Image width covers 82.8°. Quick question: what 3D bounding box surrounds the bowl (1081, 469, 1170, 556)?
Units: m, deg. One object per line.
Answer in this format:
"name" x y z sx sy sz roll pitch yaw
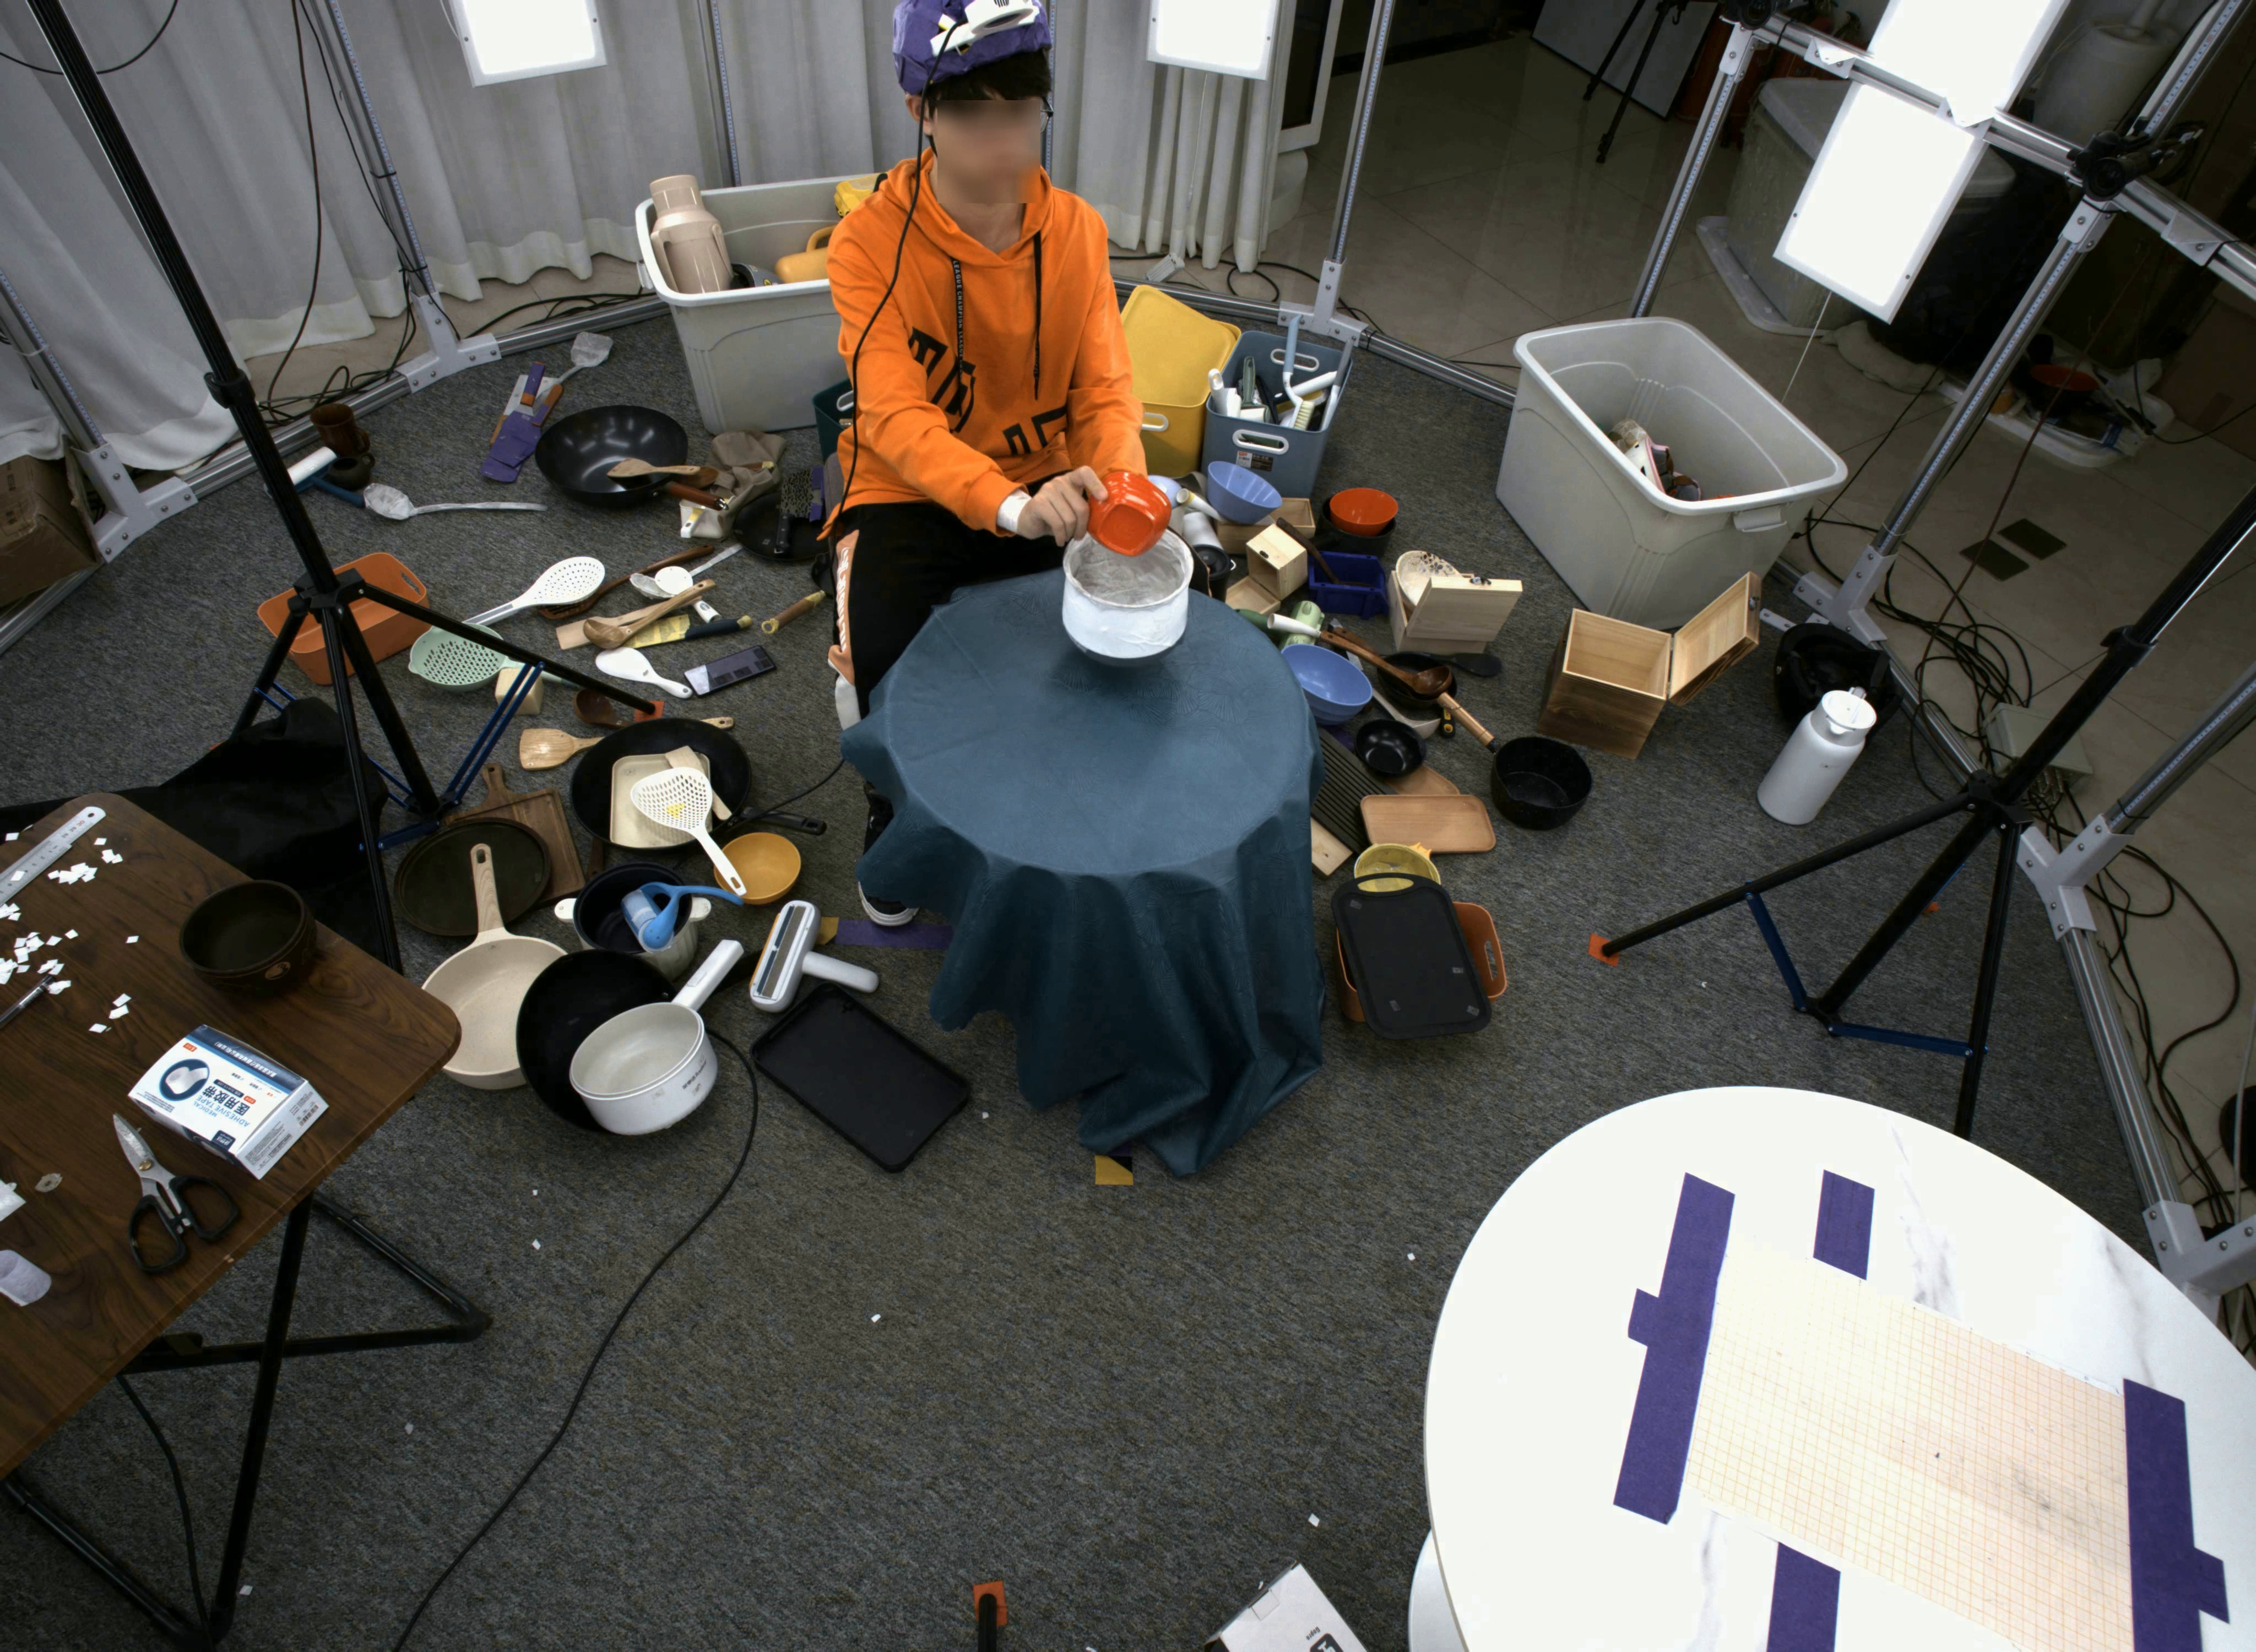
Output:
"bowl" -0.005 -0.399 1.679 0.119 0.116 0.052 7 39 1

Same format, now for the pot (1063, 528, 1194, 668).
"pot" -0.001 -0.341 1.804 0.178 0.133 0.239 4 52 -1
